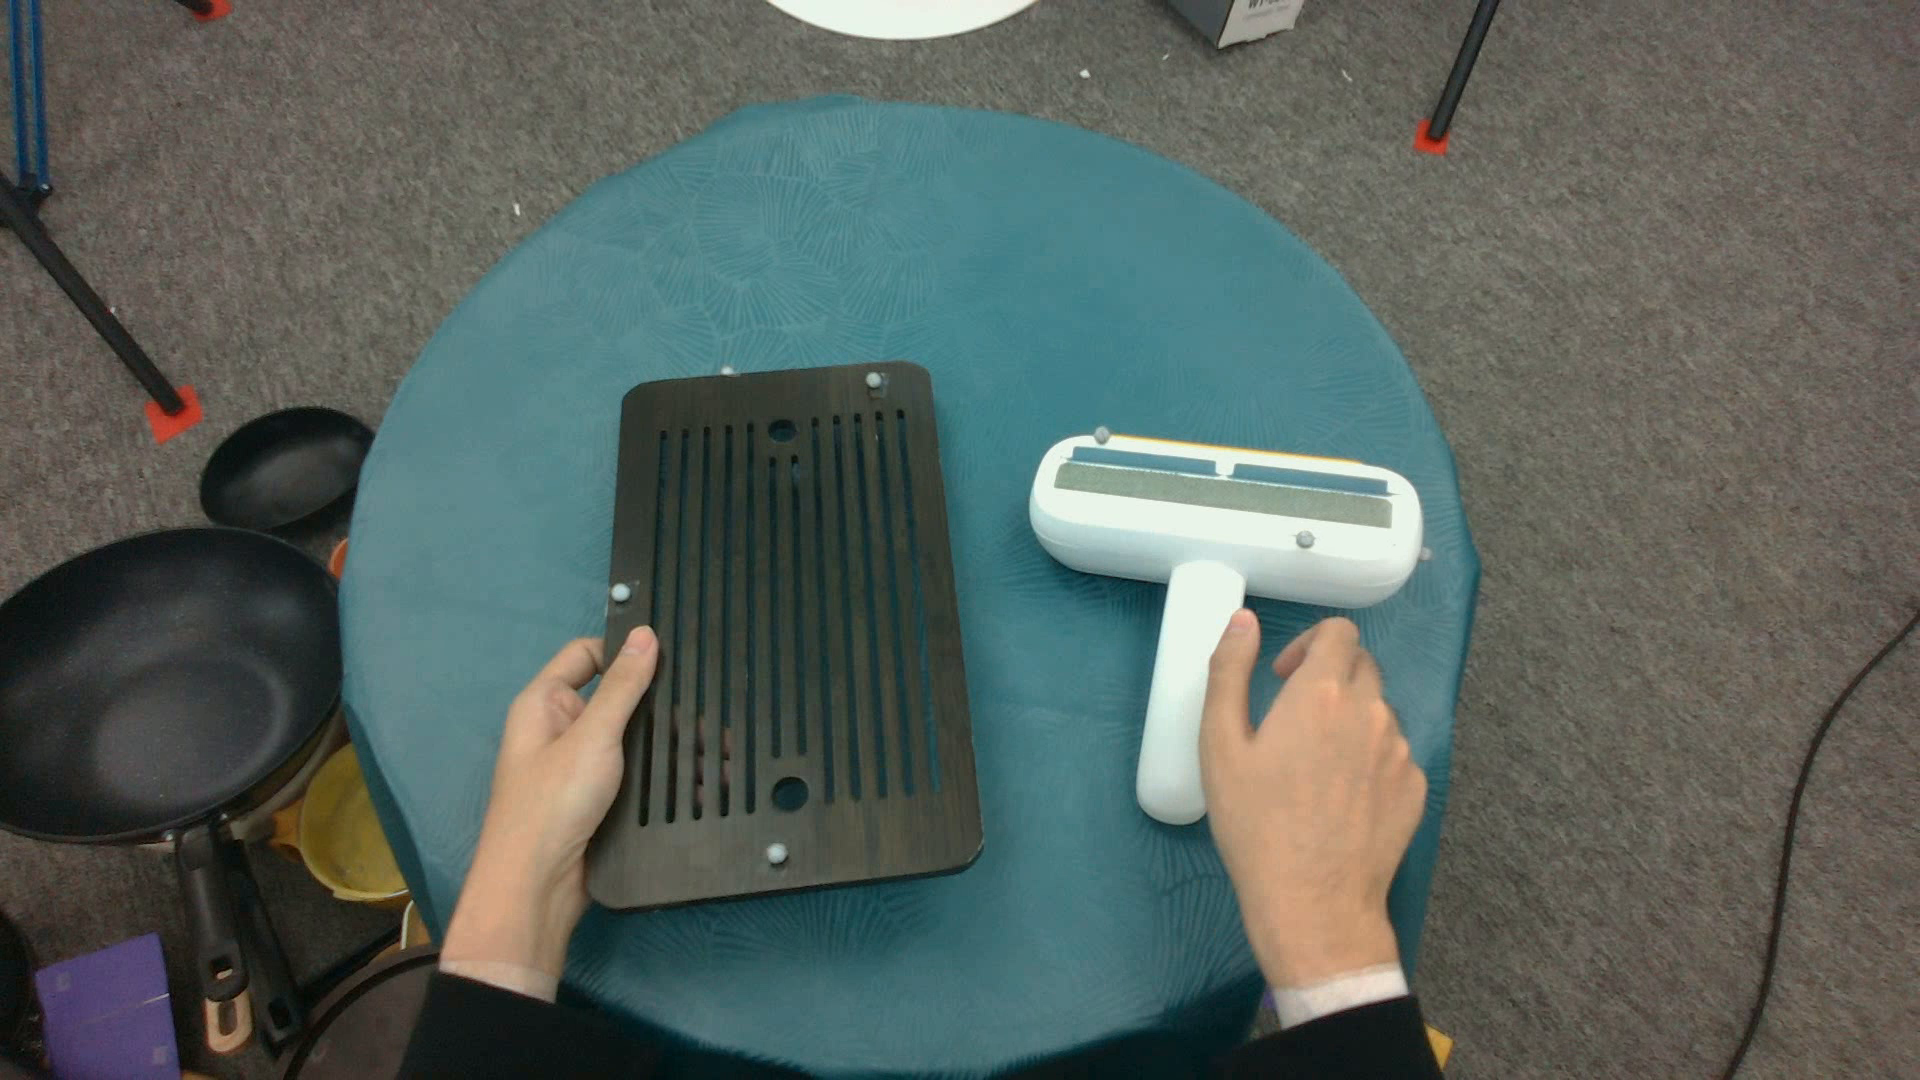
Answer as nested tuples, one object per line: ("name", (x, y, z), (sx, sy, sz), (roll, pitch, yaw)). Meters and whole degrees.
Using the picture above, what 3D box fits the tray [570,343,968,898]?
("tray", (-0.097, 0.023, 0.674), (0.170, 0.018, 0.307), (-6, 53, -4))

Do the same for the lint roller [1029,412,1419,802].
("lint roller", (0.114, 0.032, 0.674), (0.193, 0.074, 0.193), (13, 61, 12))
